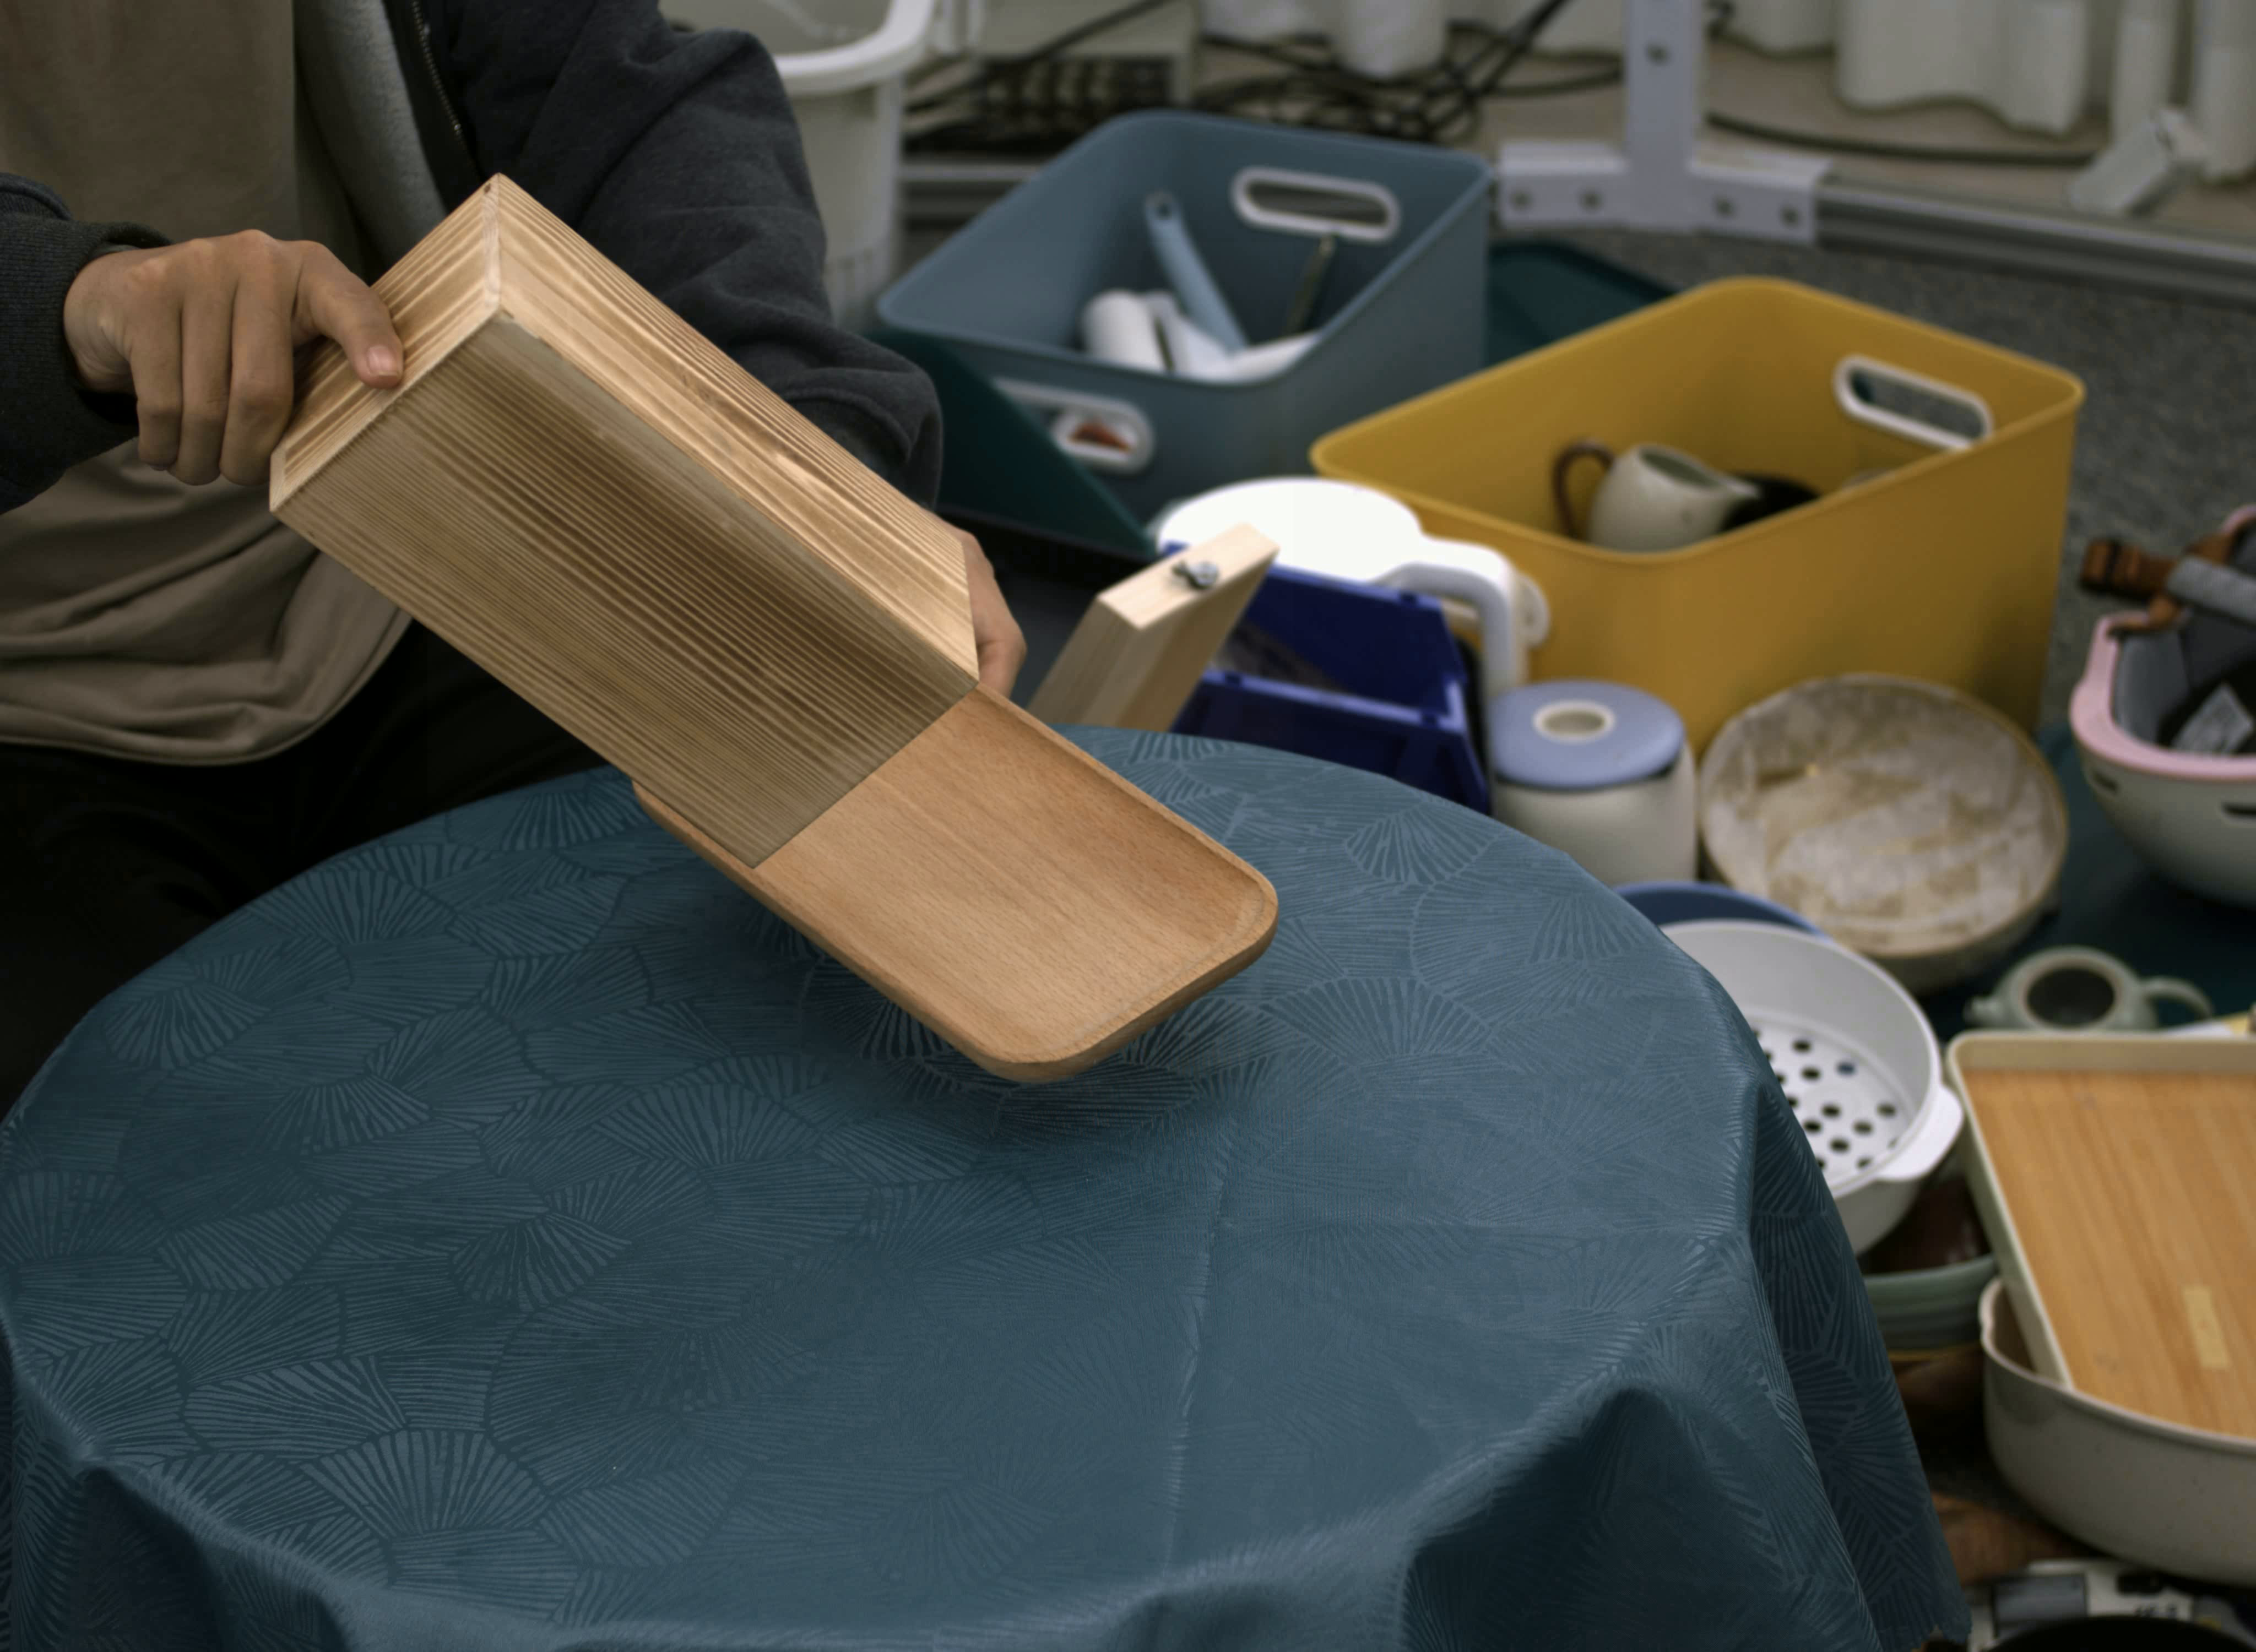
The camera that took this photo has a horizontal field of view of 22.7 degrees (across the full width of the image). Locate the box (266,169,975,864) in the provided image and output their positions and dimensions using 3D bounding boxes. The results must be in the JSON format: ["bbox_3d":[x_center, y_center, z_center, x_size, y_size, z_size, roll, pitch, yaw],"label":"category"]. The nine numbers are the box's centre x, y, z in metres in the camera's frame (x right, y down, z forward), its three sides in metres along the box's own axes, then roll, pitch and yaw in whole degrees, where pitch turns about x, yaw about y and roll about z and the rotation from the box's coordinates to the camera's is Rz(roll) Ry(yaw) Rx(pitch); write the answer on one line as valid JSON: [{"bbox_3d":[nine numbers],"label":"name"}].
[{"bbox_3d":[-0.162,-0.096,1.811,0.106,0.210,0.081,-39,32,22],"label":"box"}]

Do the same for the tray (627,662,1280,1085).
[{"bbox_3d":[-0.063,0.008,1.972,0.132,0.022,0.251,-28,42,-28],"label":"tray"}]
